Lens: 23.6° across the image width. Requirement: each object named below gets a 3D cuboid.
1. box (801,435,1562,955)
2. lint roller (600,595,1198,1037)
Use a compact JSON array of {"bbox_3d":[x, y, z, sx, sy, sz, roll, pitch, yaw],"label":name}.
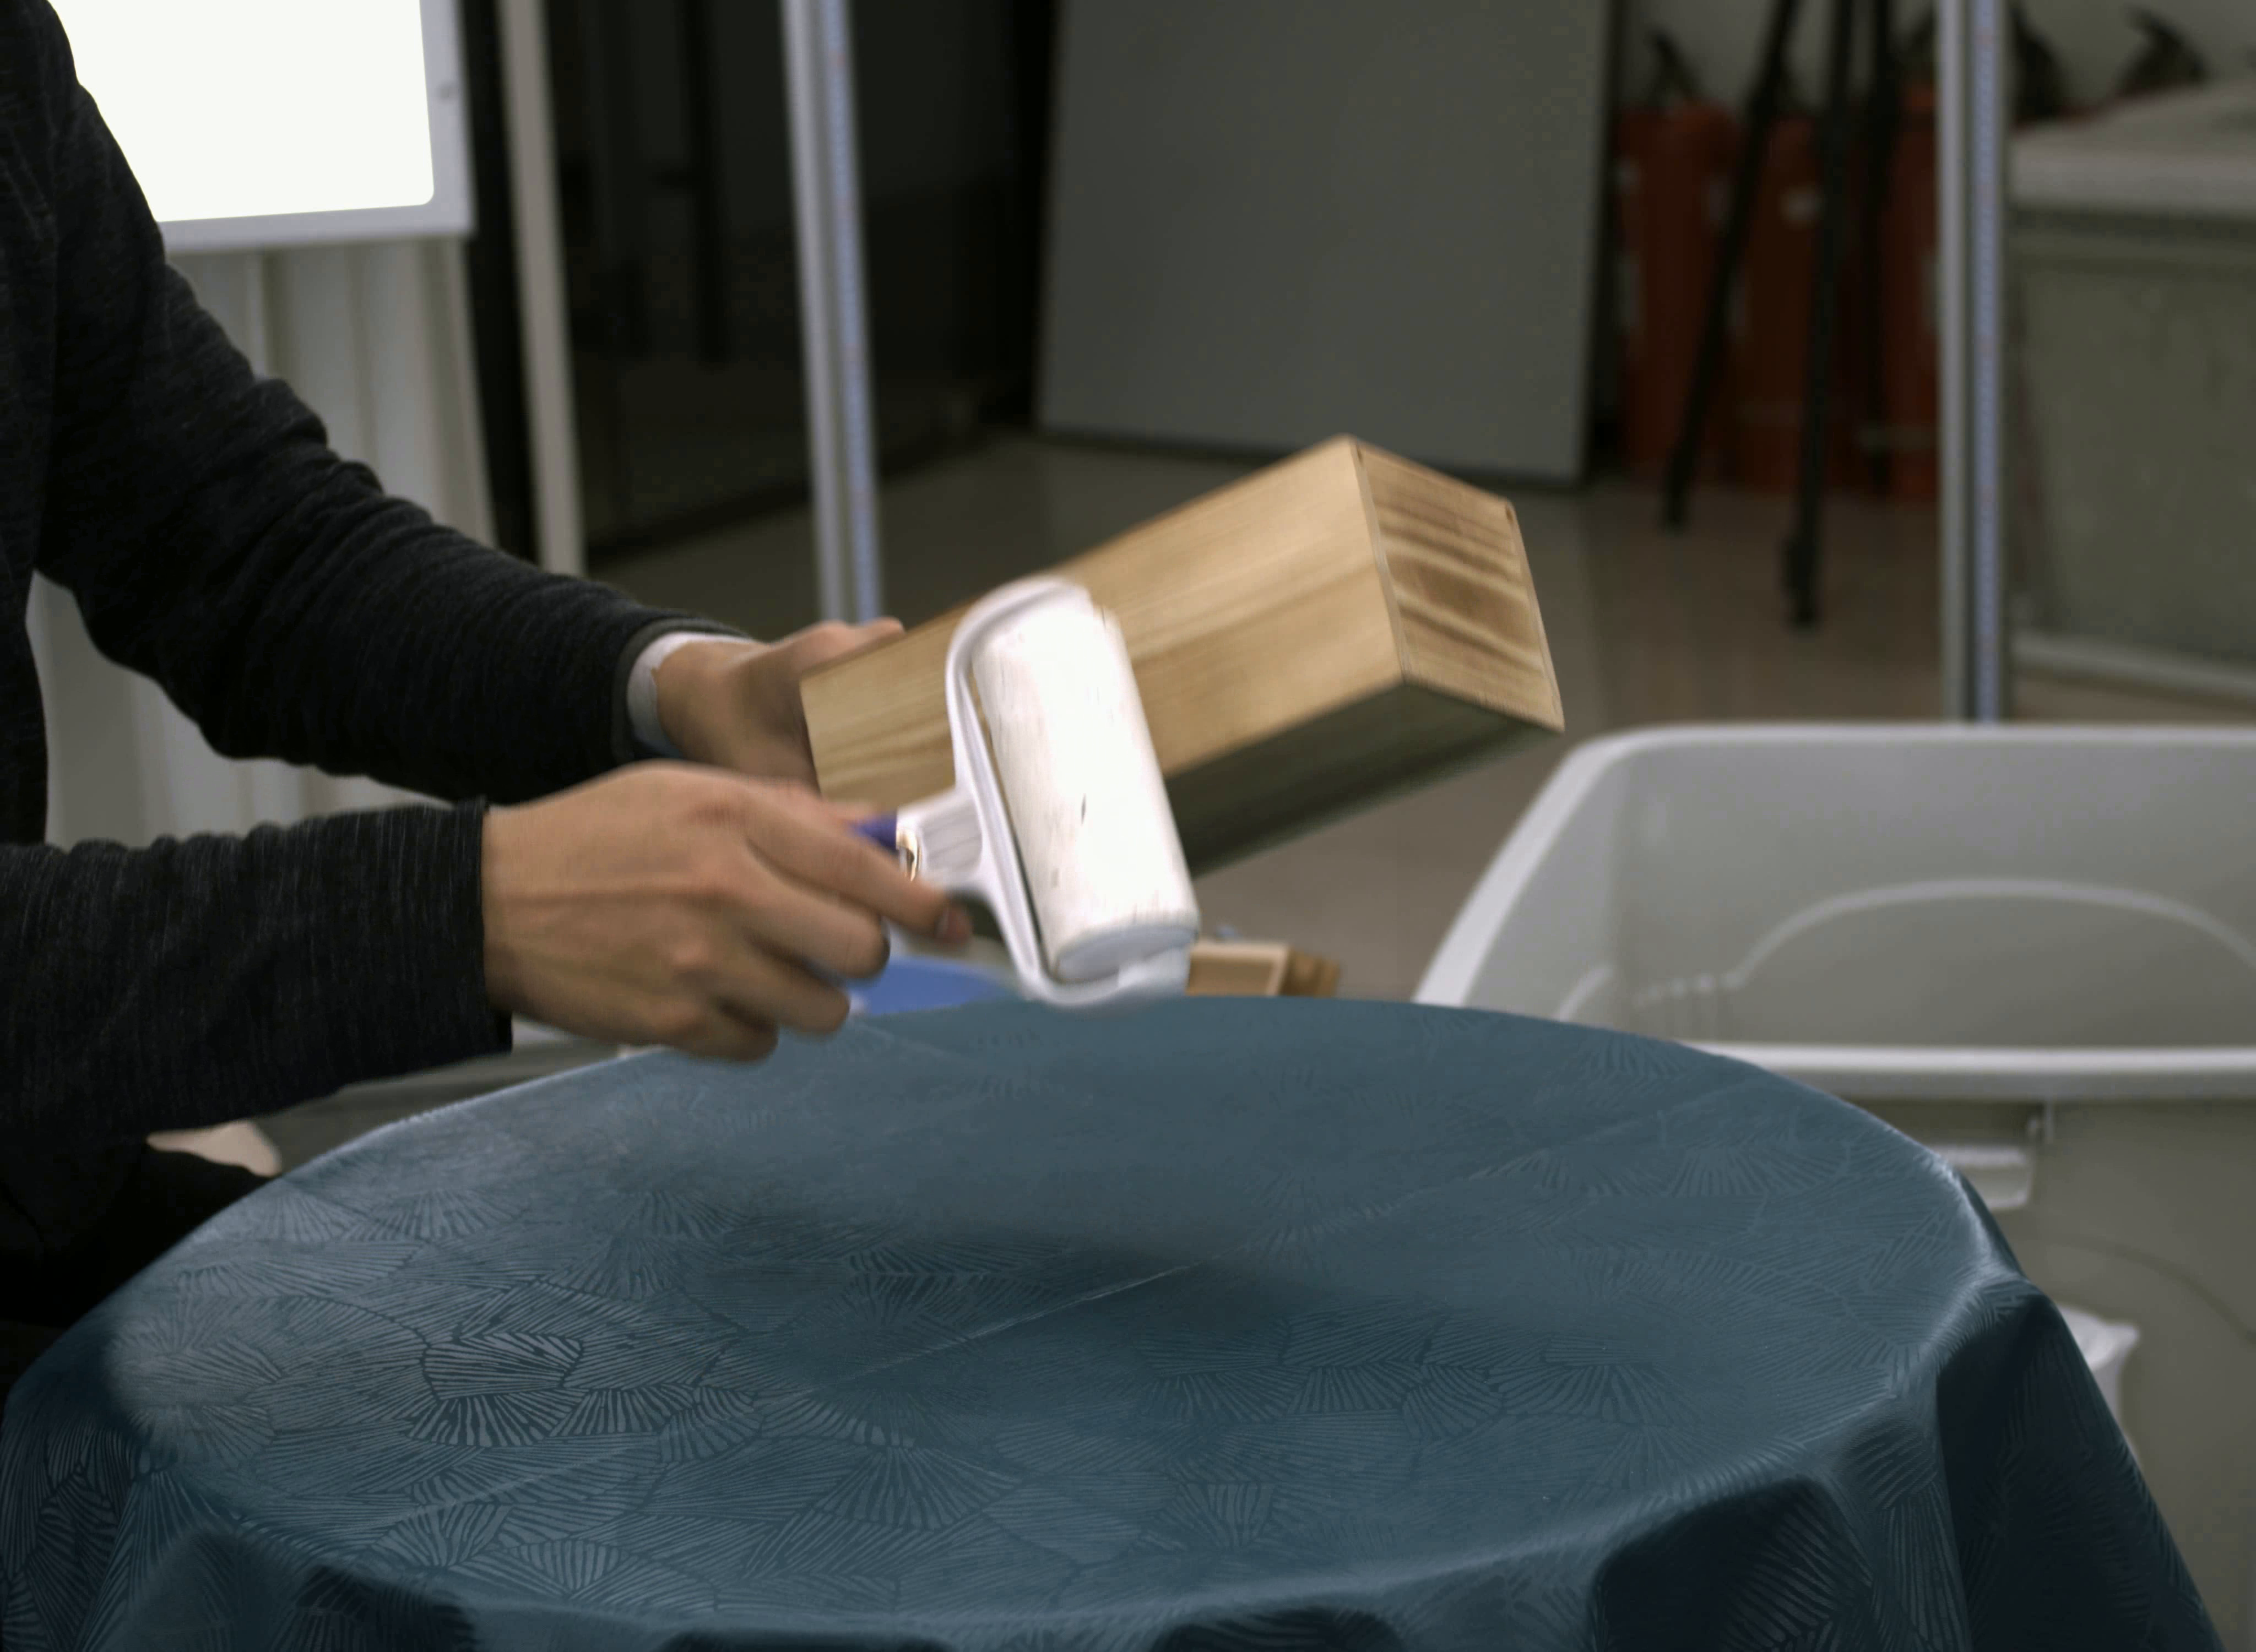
[{"bbox_3d":[0.016,-0.037,1.693,0.212,0.081,0.105,-23,-20,28],"label":"box"},{"bbox_3d":[-0.075,0.013,1.590,0.179,0.135,0.050,-15,-21,6],"label":"lint roller"}]
